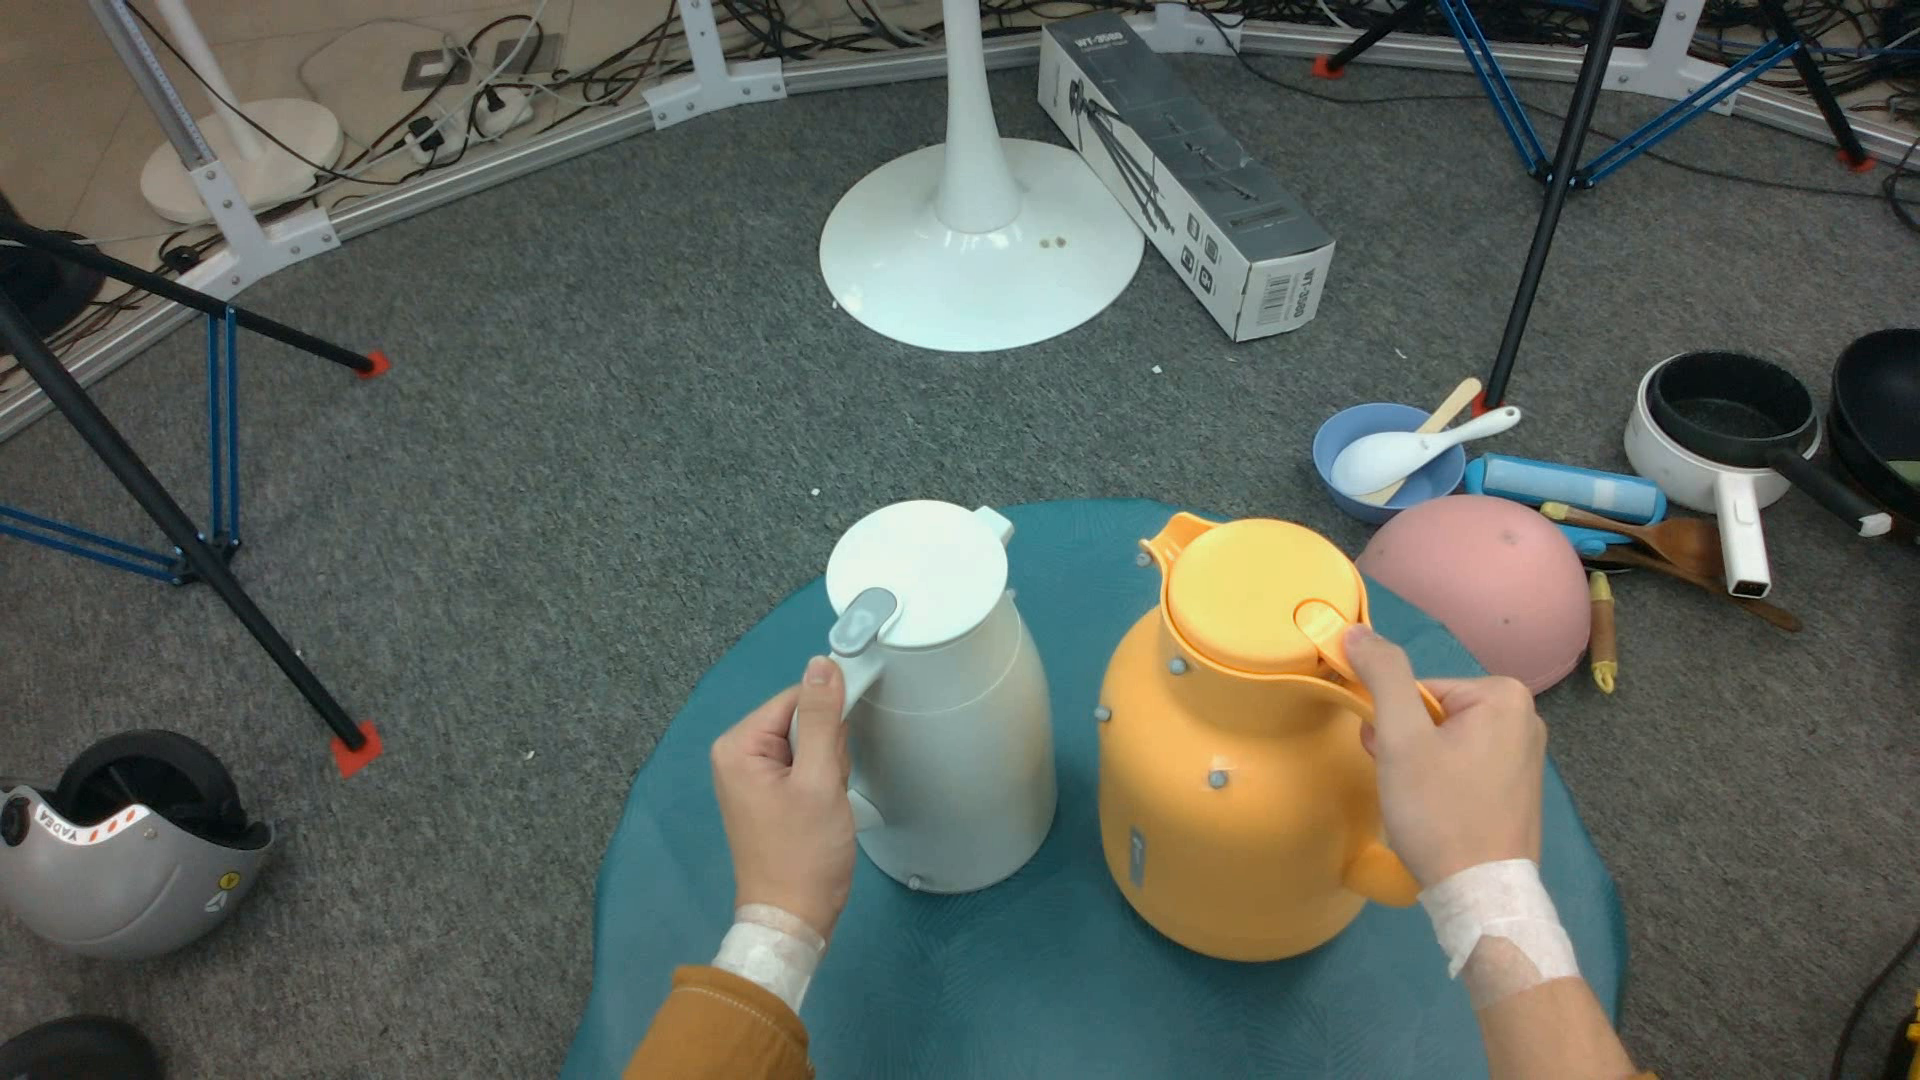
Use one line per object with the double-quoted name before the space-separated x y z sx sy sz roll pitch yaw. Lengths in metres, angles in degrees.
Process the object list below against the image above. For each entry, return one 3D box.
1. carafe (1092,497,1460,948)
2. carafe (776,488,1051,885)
"carafe" 0.162 0.107 0.726 0.164 0.259 0.202 -34 51 -20
"carafe" -0.029 0.093 0.766 0.132 0.247 0.168 32 61 26
